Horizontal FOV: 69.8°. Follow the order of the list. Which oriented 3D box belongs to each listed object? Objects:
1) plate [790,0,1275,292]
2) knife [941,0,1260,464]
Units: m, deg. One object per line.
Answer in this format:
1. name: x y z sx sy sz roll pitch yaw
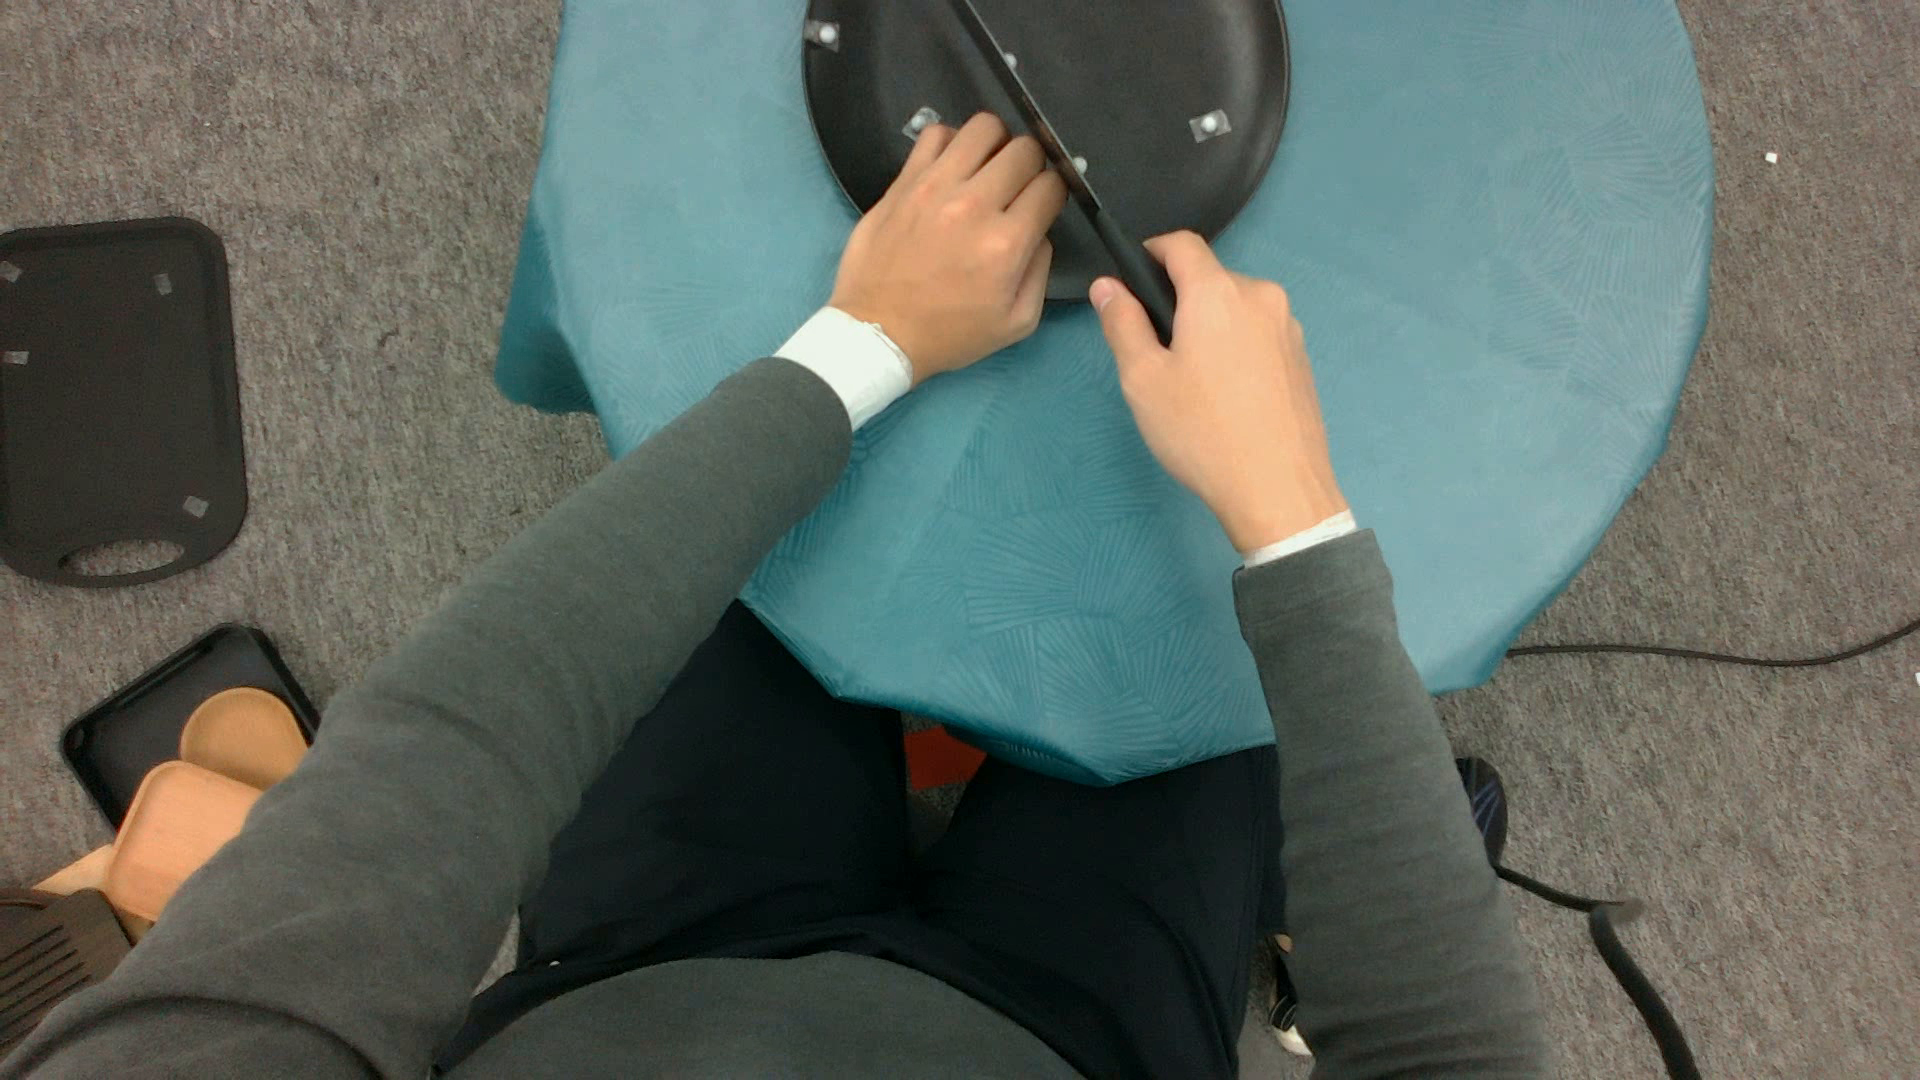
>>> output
1. plate: 0.037 -0.242 0.694 0.244 0.023 0.244 0 84 -3
2. knife: 0.047 -0.165 0.623 0.021 0.081 0.302 -32 82 5
